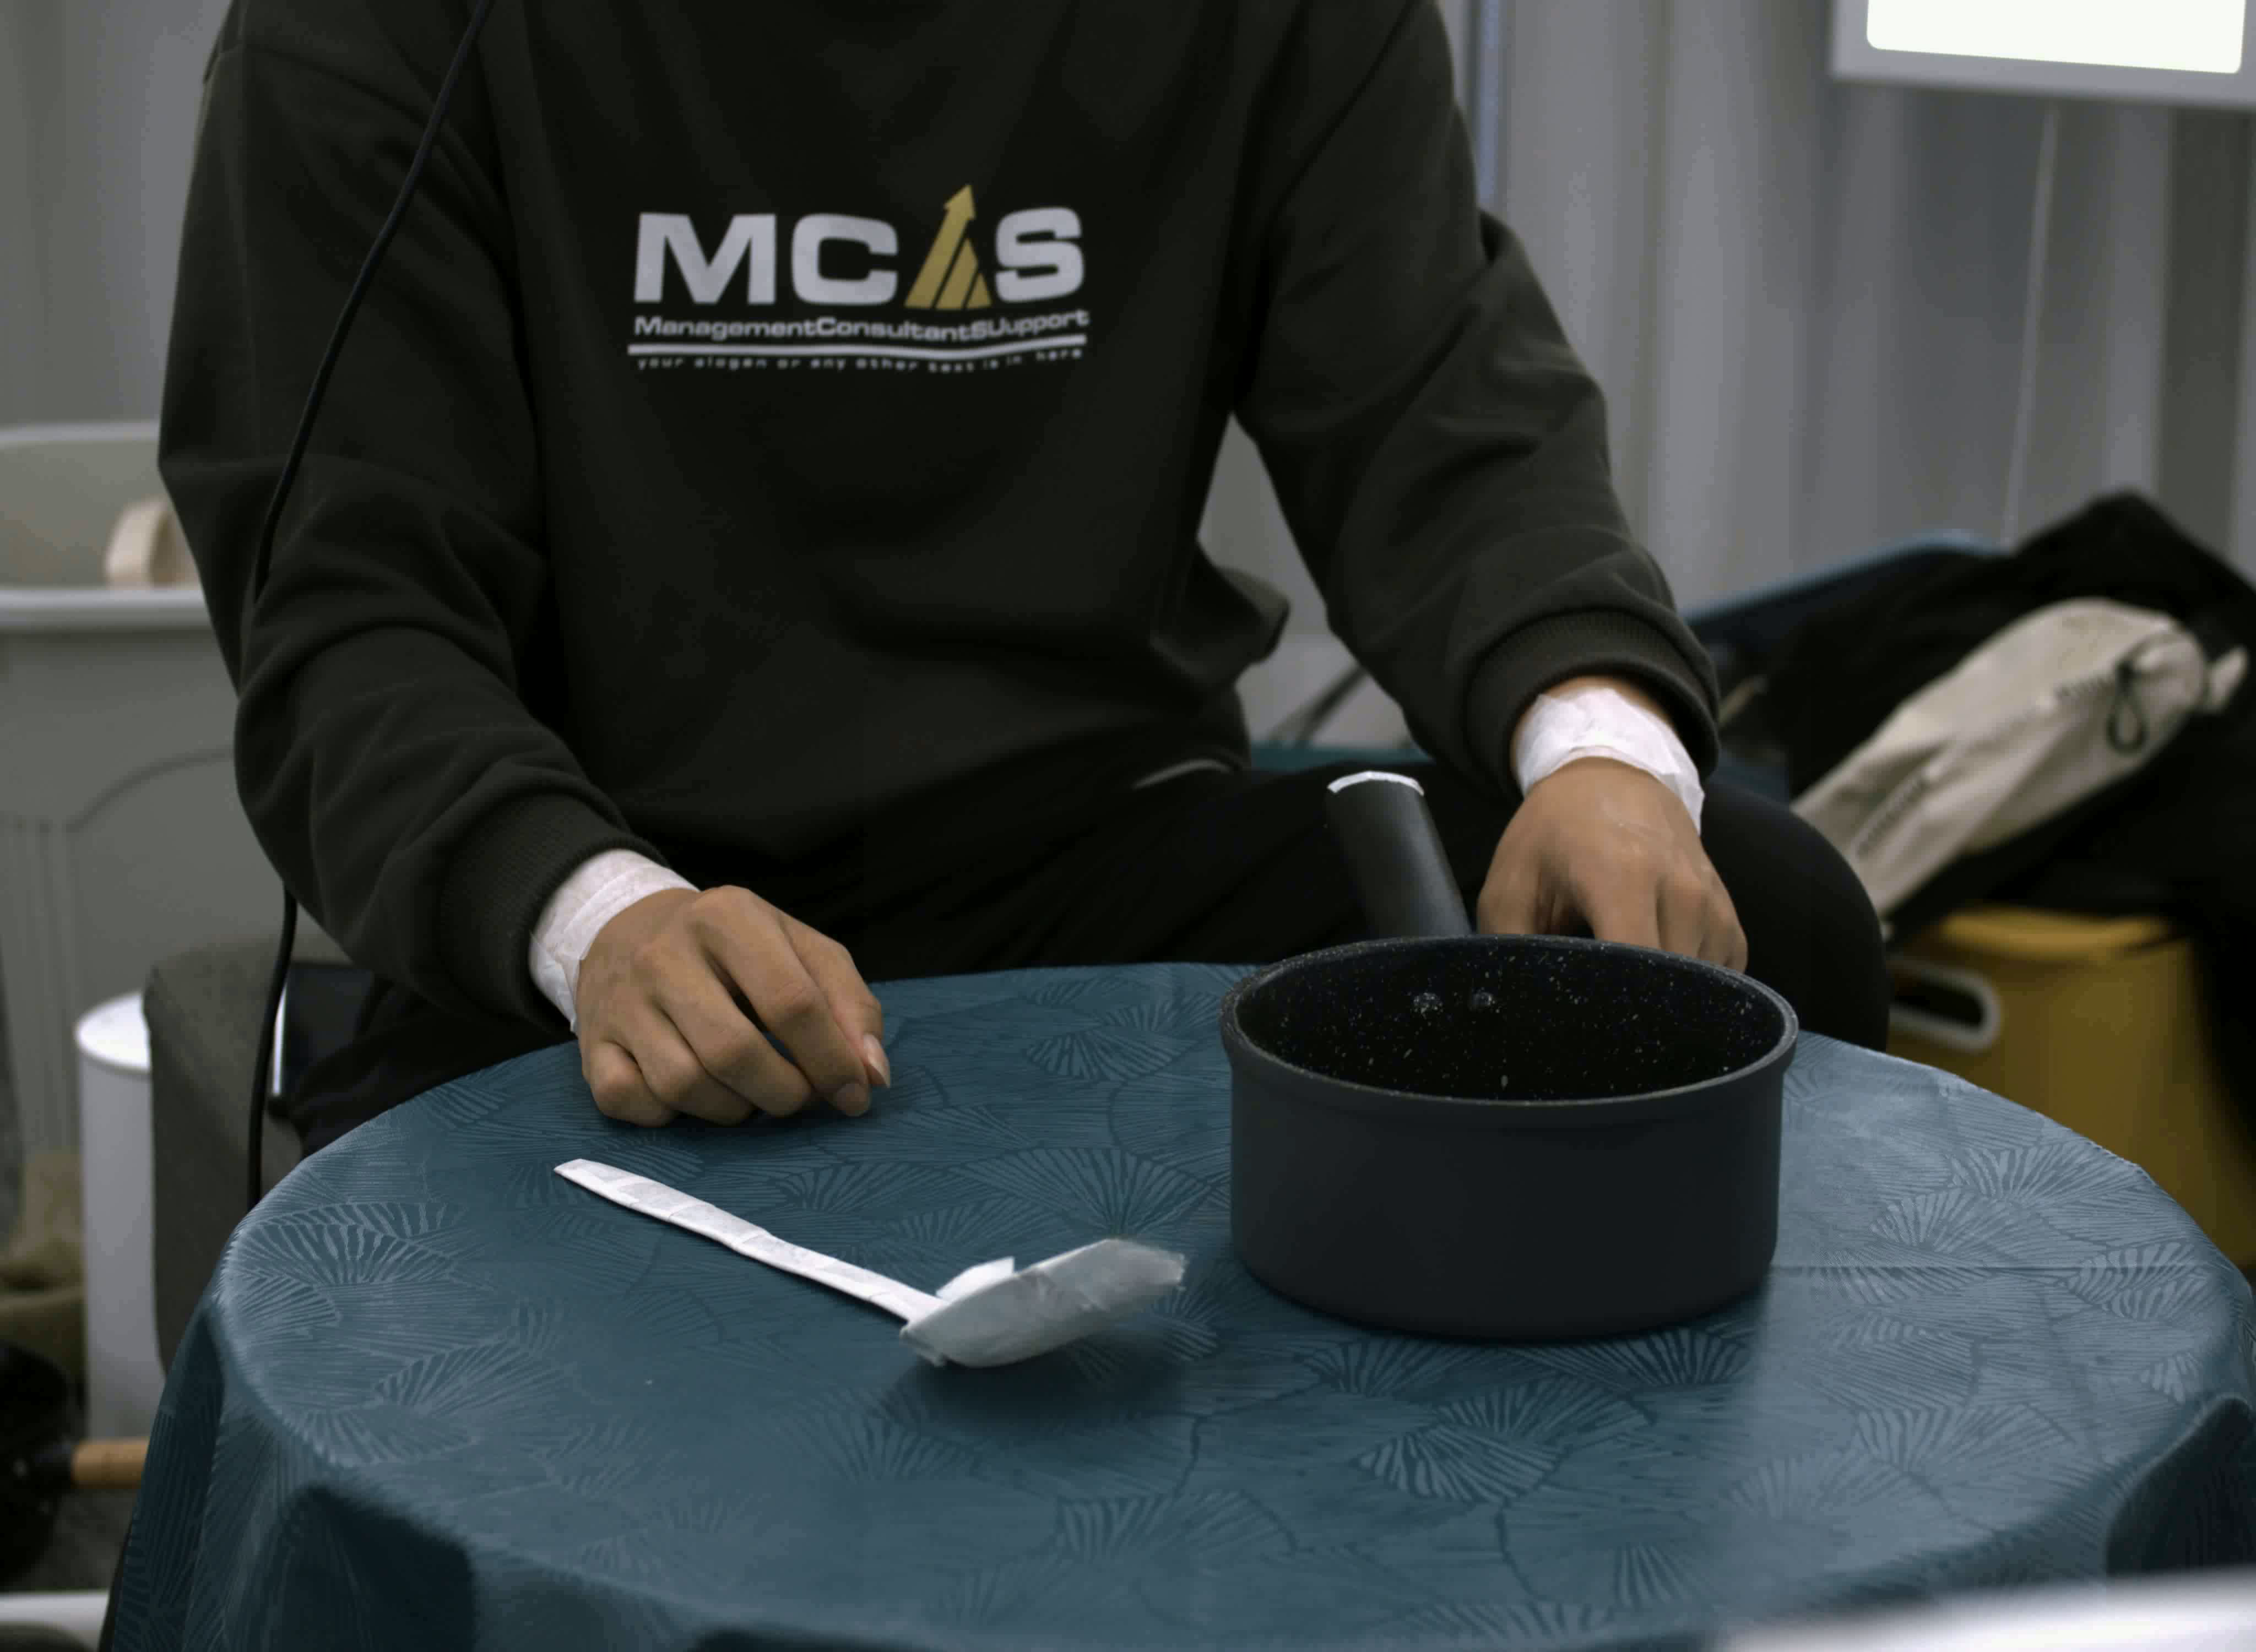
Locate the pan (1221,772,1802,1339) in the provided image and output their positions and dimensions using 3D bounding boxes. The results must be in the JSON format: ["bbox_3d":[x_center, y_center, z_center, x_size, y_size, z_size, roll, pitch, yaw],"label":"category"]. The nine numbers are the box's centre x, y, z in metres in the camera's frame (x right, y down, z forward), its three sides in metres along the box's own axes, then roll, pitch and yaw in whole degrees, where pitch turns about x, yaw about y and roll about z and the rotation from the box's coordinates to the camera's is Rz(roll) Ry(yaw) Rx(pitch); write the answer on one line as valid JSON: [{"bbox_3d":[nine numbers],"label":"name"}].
[{"bbox_3d":[0.106,0.067,1.636,0.172,0.087,0.326,0,16,-5],"label":"pan"}]

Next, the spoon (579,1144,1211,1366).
[{"bbox_3d":[-0.079,0.105,1.539,0.101,0.060,0.273,-9,18,-37],"label":"spoon"}]
